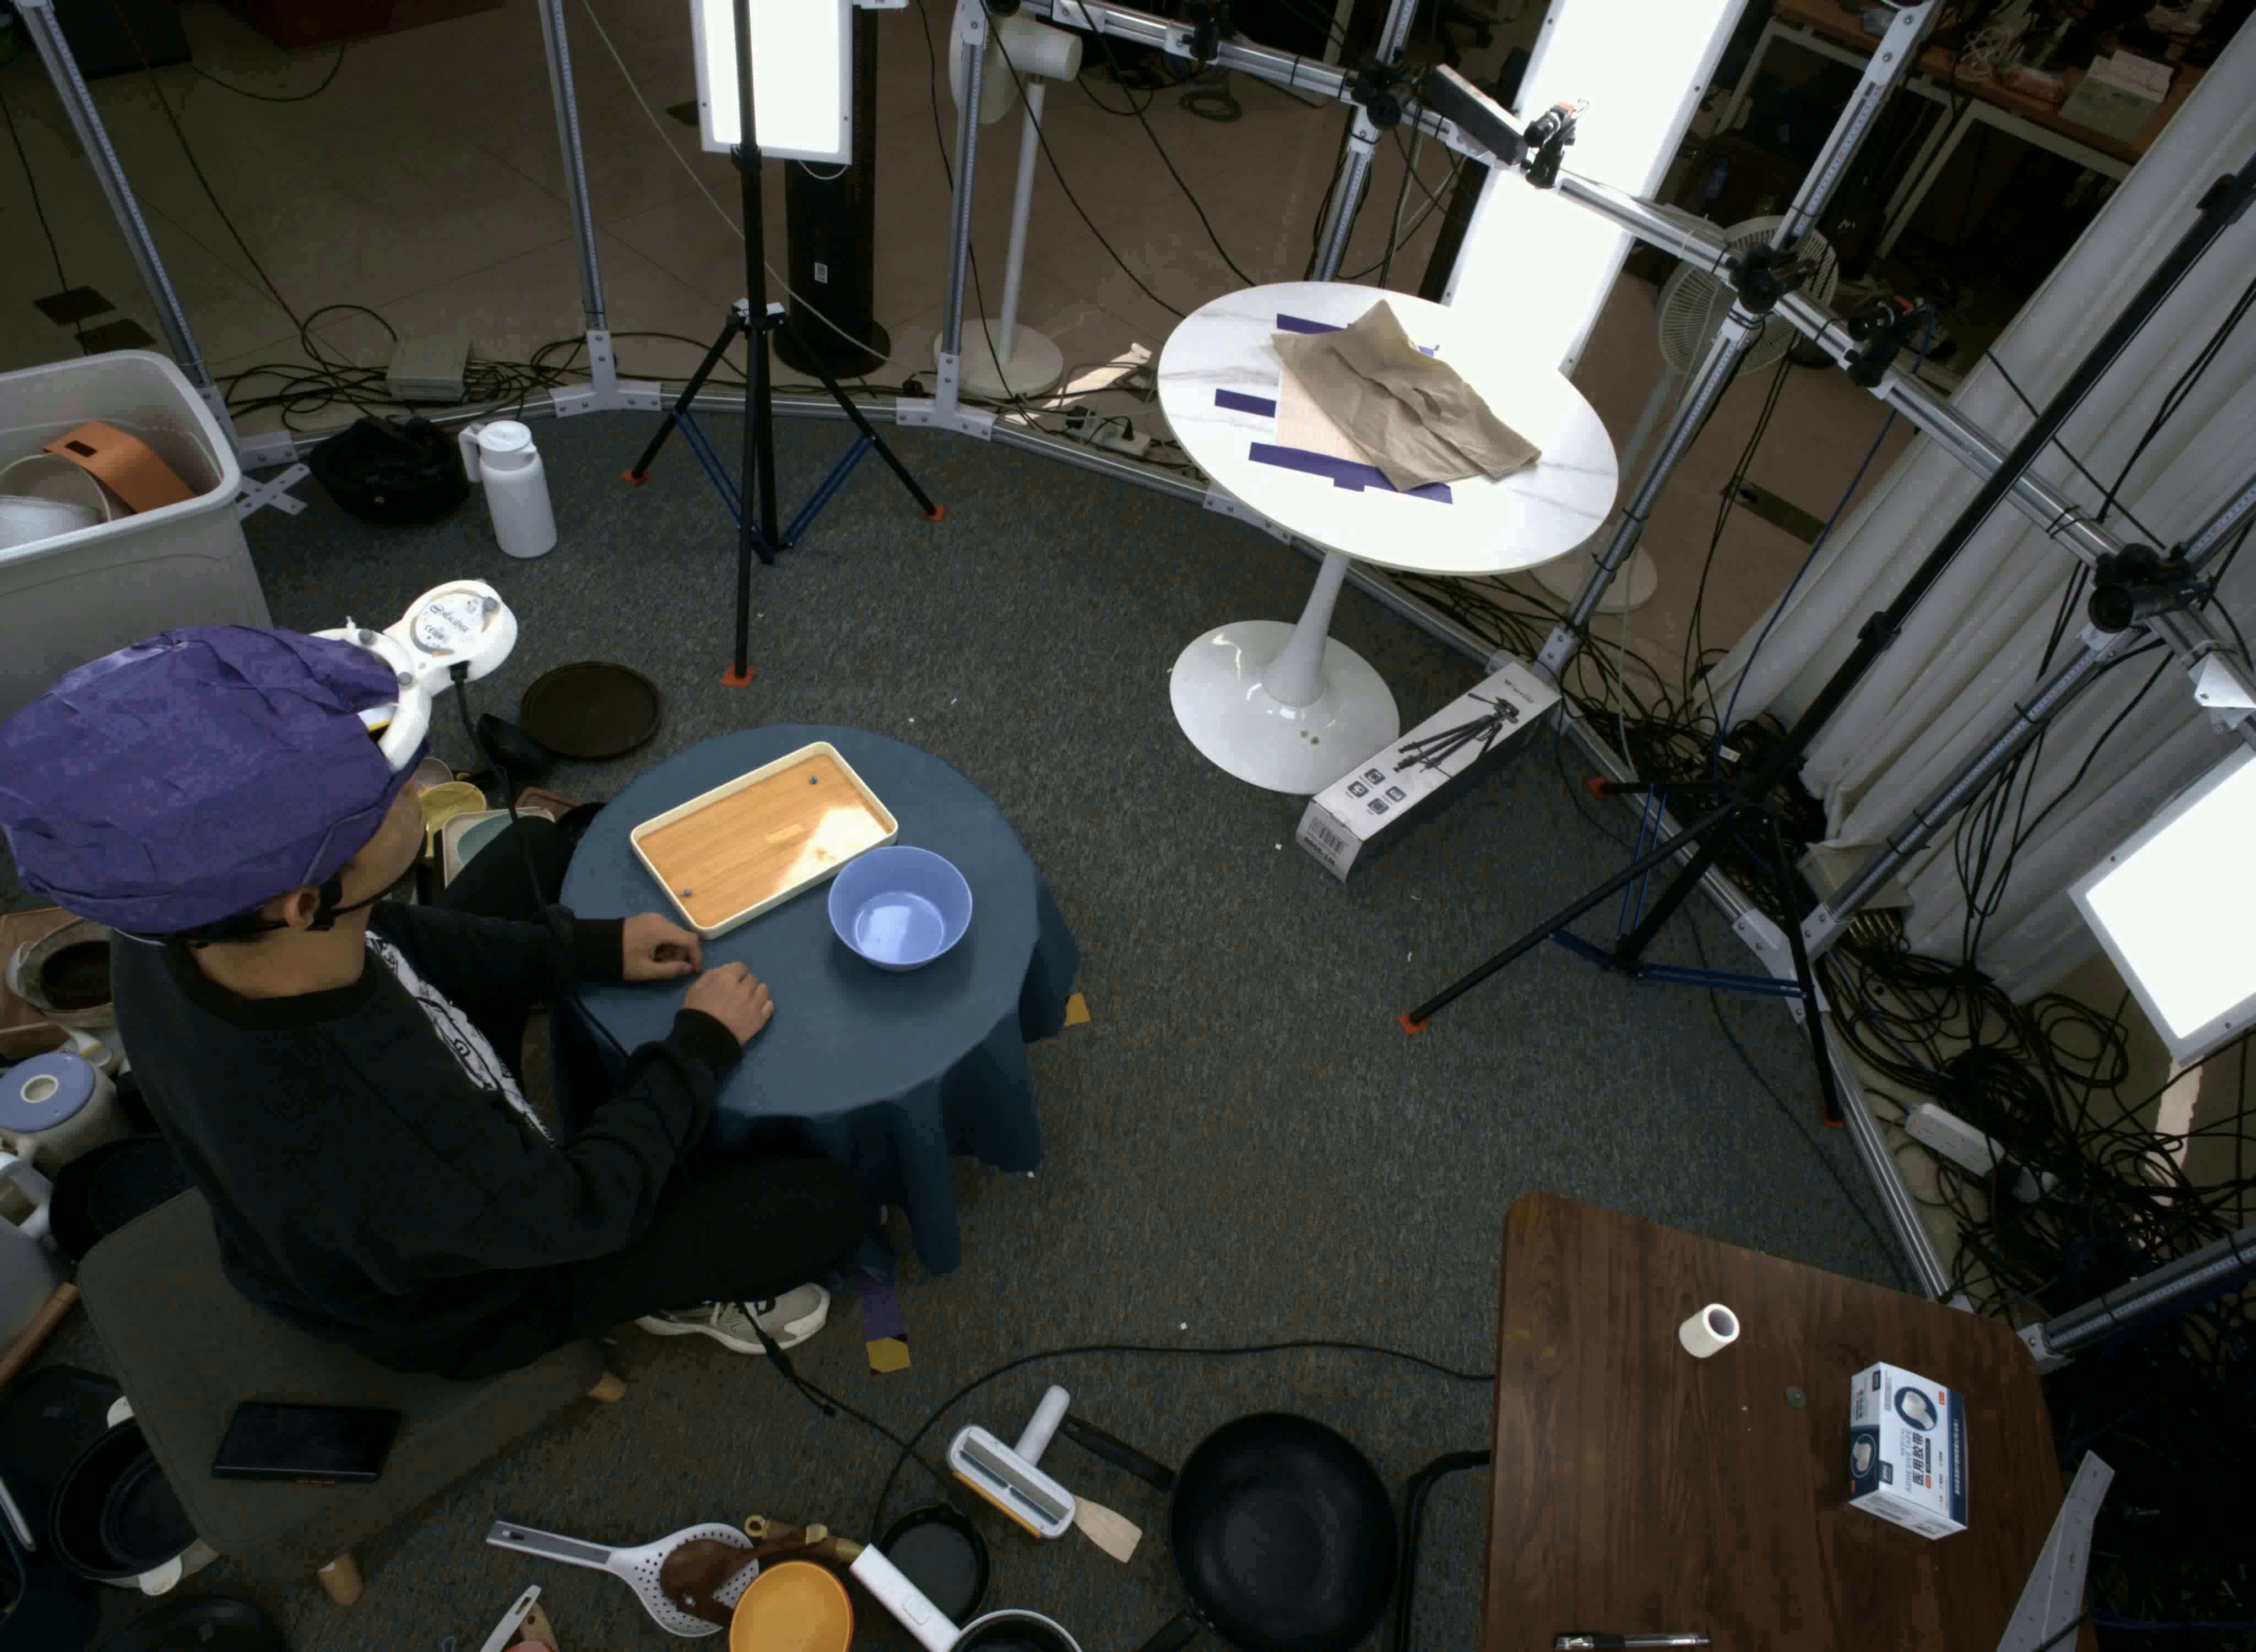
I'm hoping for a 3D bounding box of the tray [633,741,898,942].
[{"bbox_3d":[-0.472,0.012,1.691,0.301,0.028,0.187,-31,67,-31],"label":"tray"}]

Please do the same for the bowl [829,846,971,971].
[{"bbox_3d":[-0.286,0.113,1.634,0.175,0.072,0.173,7,51,-8],"label":"bowl"}]
